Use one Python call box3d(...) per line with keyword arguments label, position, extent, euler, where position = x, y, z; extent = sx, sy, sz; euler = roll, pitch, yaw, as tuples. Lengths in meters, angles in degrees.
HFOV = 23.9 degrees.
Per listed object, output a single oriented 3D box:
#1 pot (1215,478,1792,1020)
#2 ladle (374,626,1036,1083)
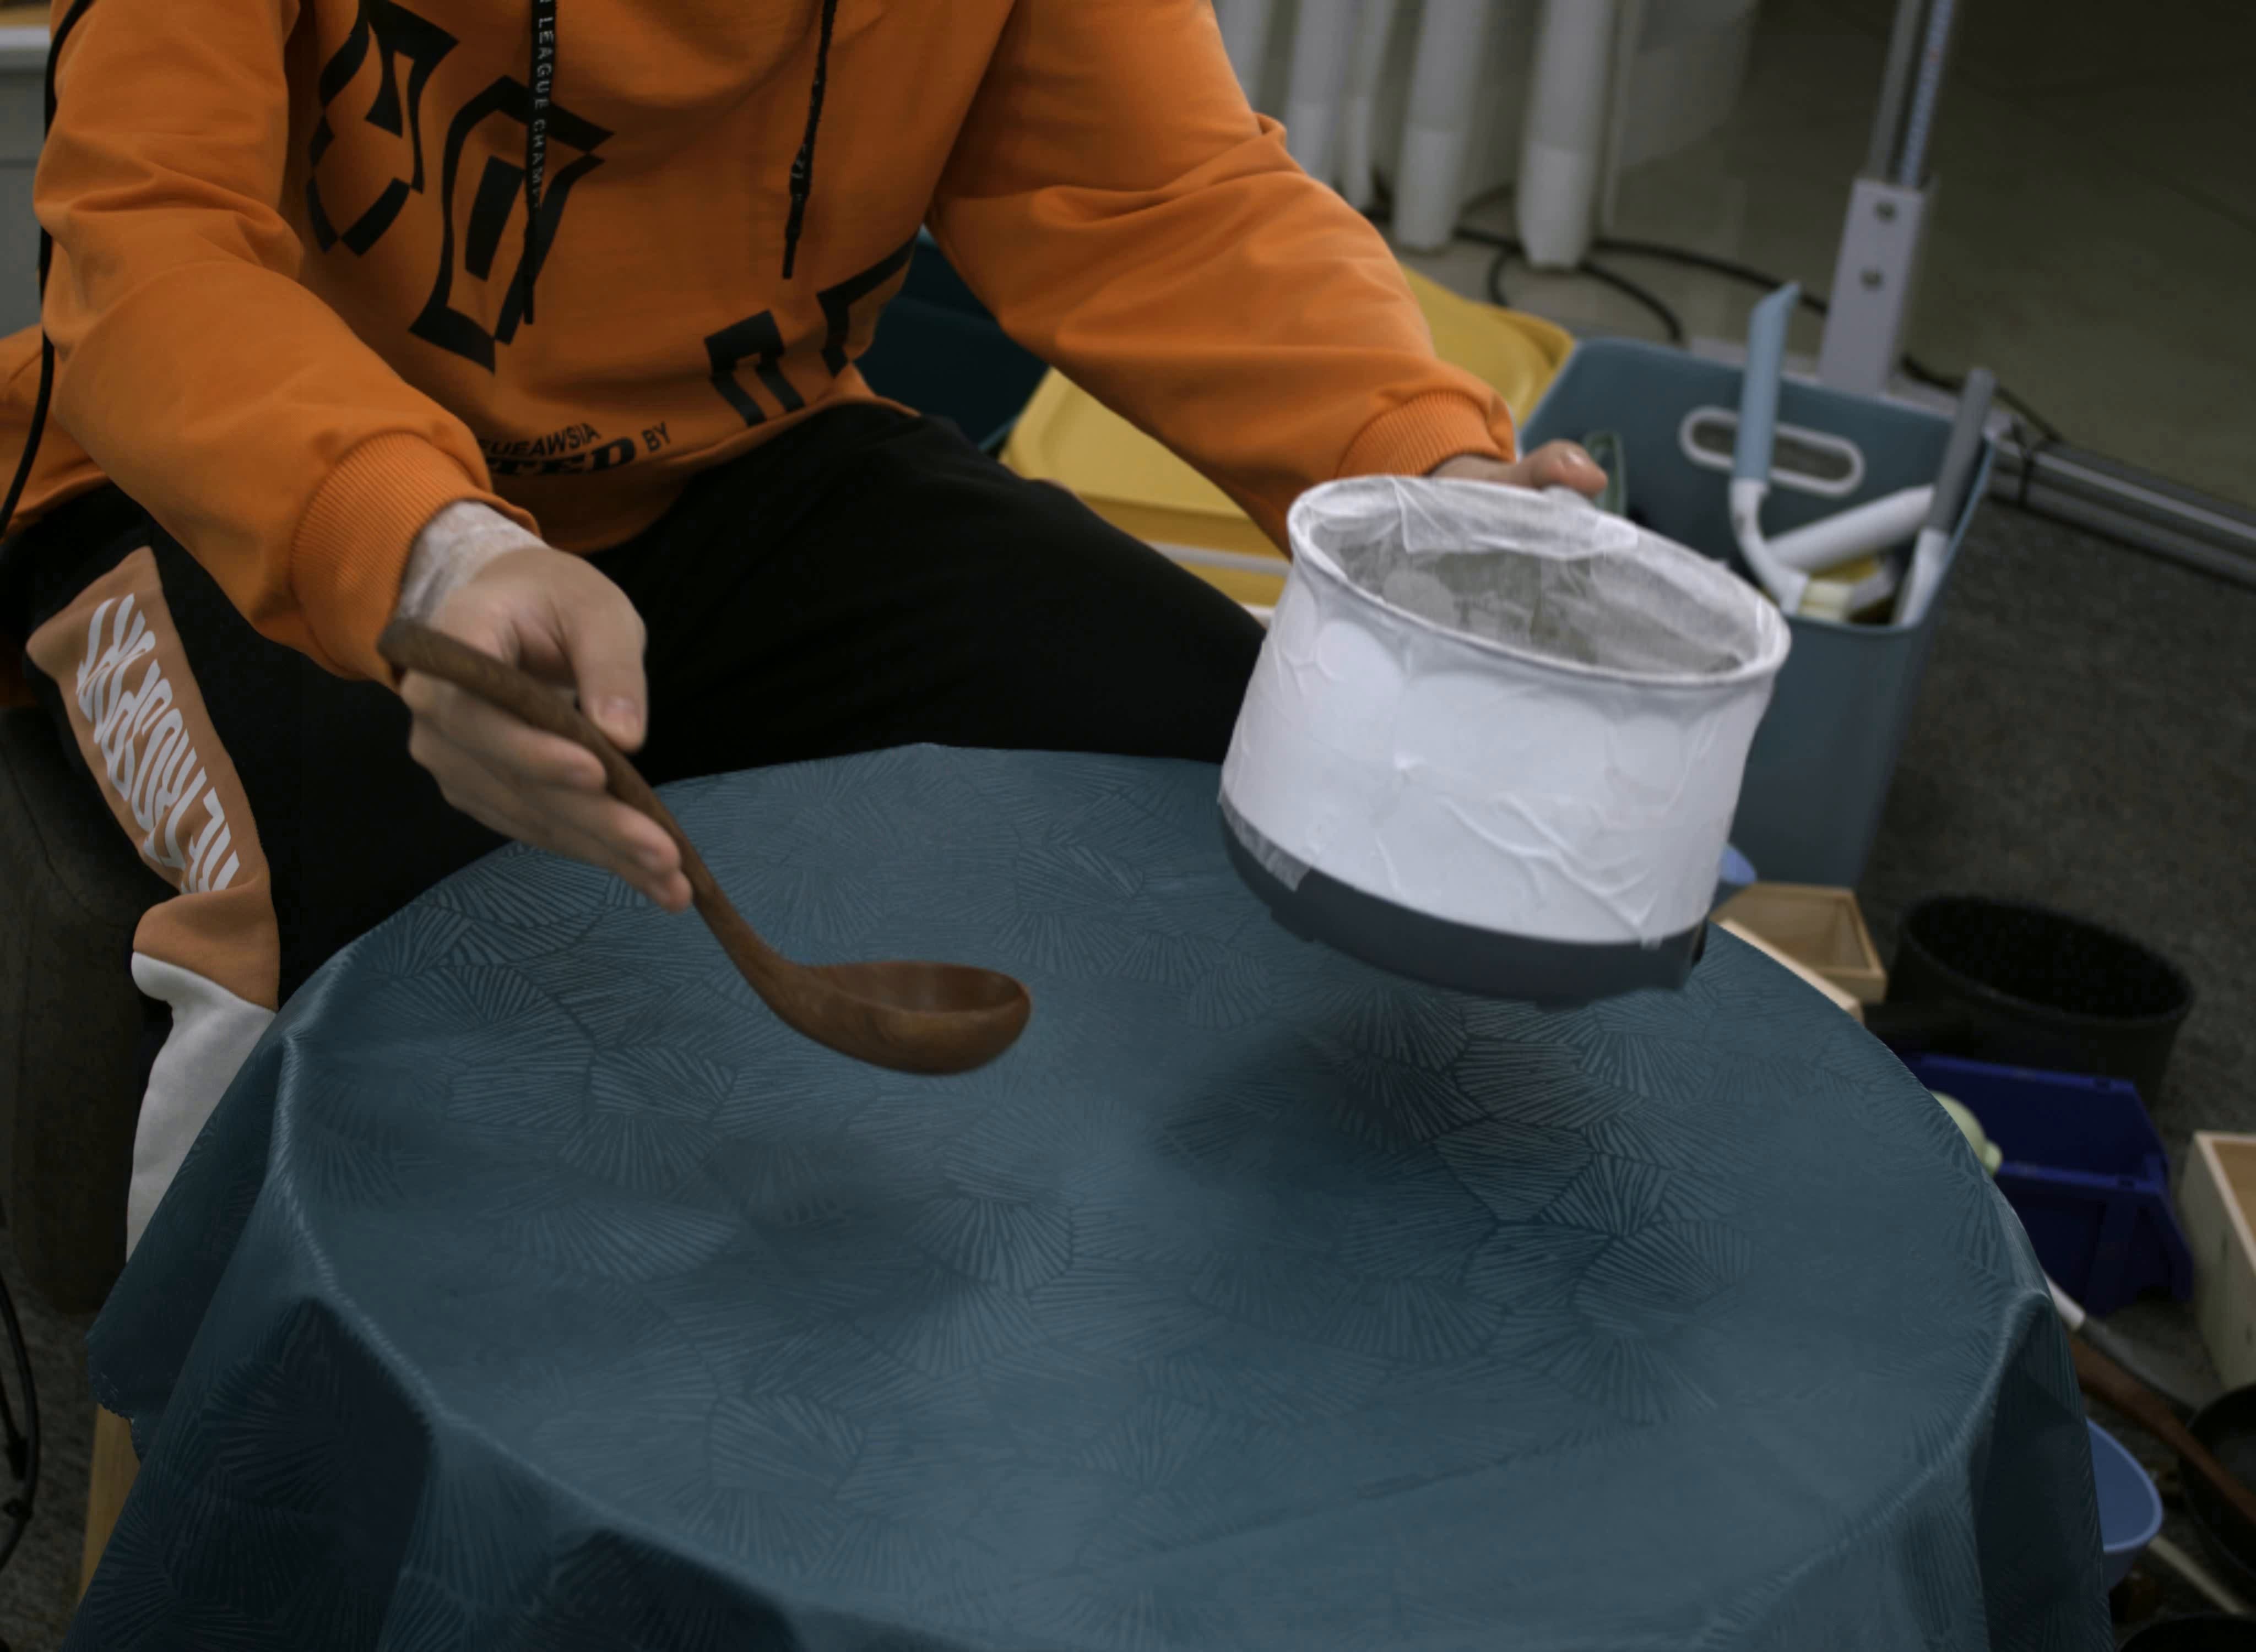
box3d(label="pot", position=(0.129, -0.035, 1.854), extent=(0.178, 0.136, 0.234), euler=(16, 21, 3))
box3d(label="ladle", position=(-0.132, 0.002, 1.713), extent=(0.065, 0.258, 0.077), euler=(-51, 26, -11))
